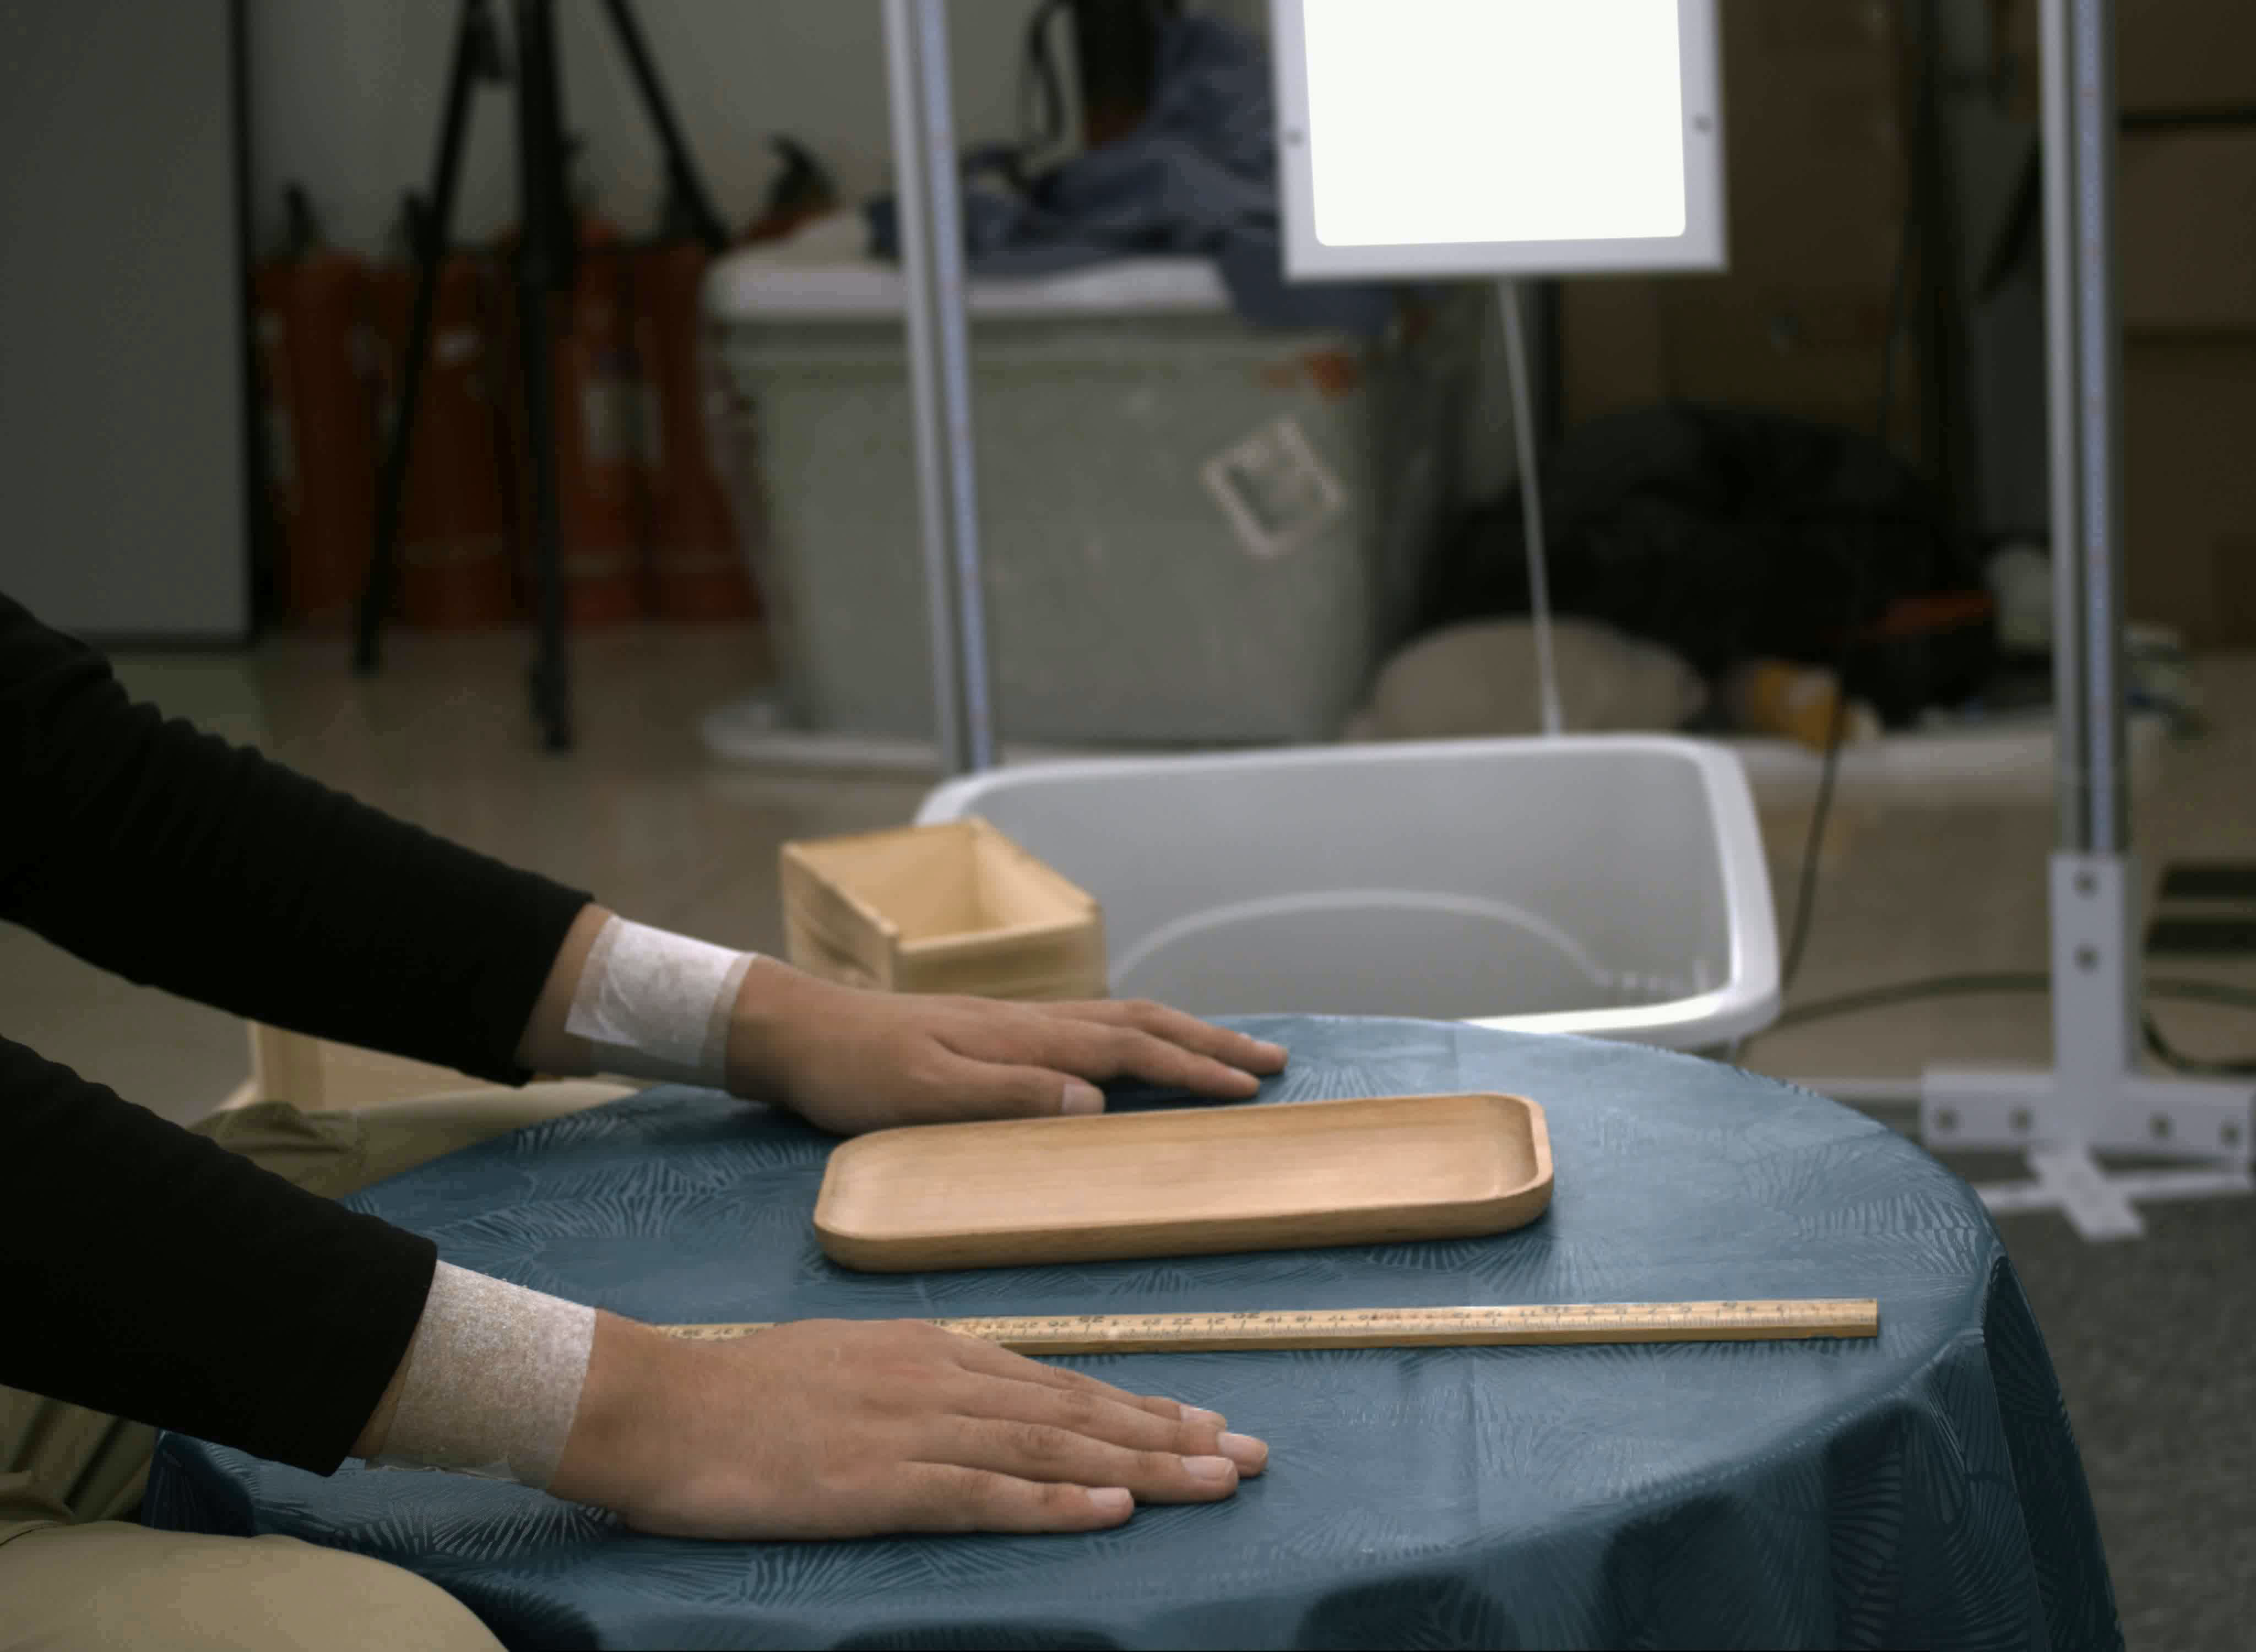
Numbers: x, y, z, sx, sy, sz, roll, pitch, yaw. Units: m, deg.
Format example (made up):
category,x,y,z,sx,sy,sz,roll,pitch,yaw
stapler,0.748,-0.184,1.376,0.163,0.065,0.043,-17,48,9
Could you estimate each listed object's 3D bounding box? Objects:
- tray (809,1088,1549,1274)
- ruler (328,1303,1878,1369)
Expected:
category,x,y,z,sx,sy,sz,roll,pitch,yaw
tray,0.019,0.121,1.880,0.251,0.023,0.130,-5,12,6
ruler,-0.012,0.162,1.749,0.504,0.006,0.026,-2,12,12
